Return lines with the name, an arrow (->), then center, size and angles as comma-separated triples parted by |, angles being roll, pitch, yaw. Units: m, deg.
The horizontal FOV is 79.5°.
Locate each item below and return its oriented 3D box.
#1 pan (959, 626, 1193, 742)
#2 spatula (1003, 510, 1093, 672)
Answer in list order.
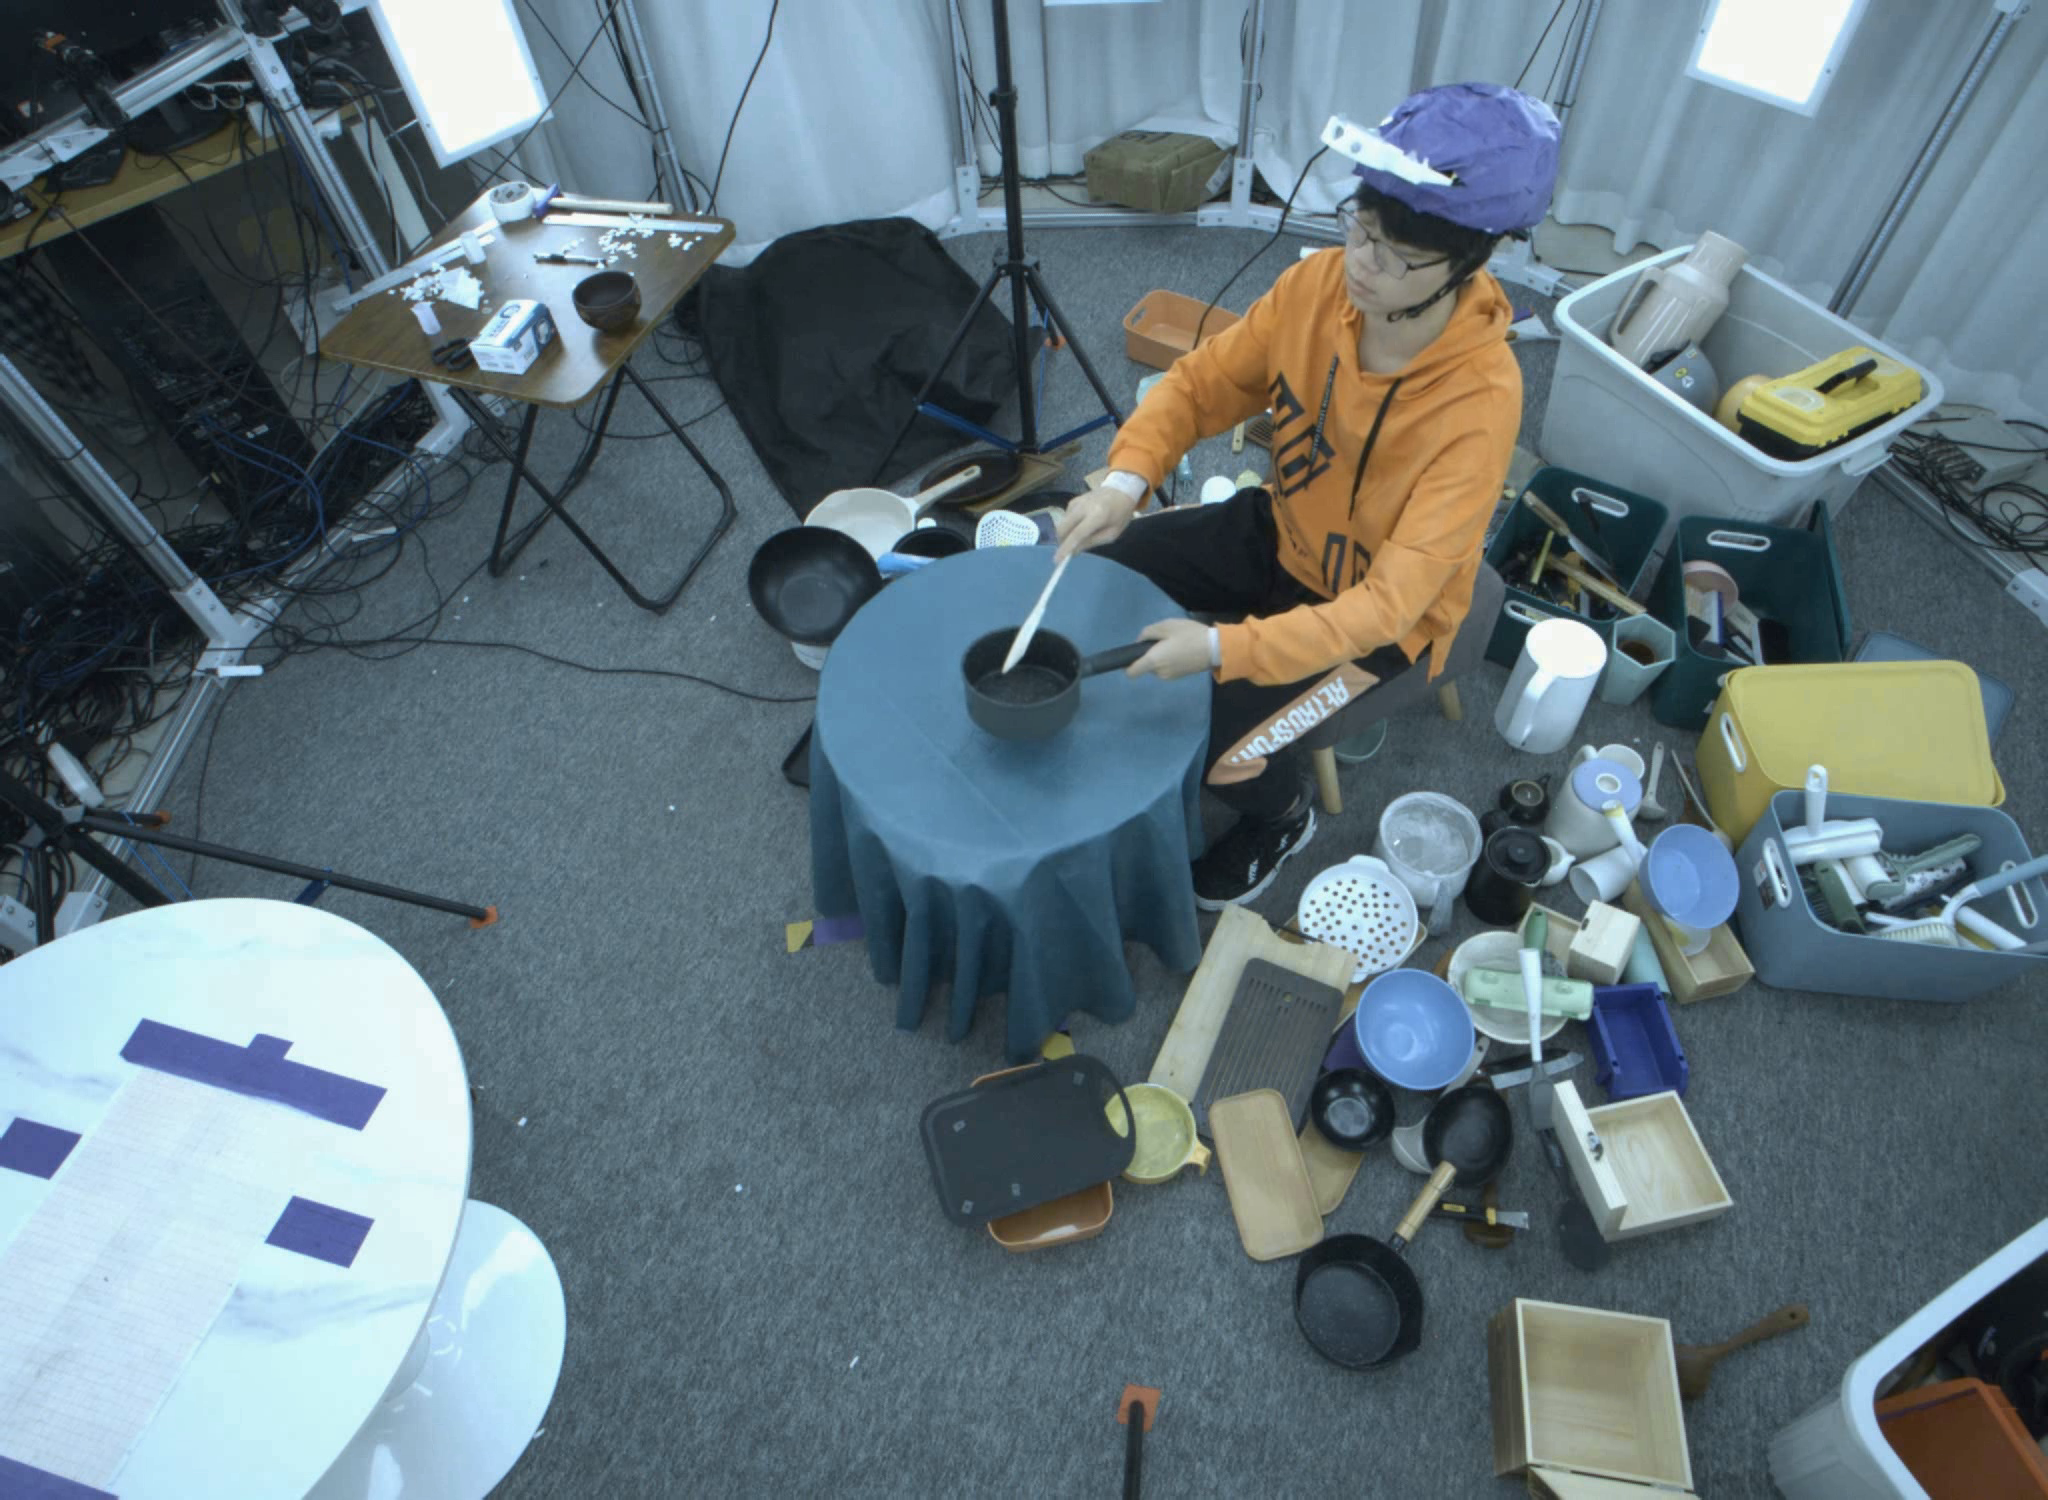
pan -> 0.075, -0.105, 1.739 | 0.330, 0.087, 0.169 | -8, 47, -6
spatula -> 0.039, -0.233, 1.724 | 0.011, 0.071, 0.293 | 31, 62, -9
